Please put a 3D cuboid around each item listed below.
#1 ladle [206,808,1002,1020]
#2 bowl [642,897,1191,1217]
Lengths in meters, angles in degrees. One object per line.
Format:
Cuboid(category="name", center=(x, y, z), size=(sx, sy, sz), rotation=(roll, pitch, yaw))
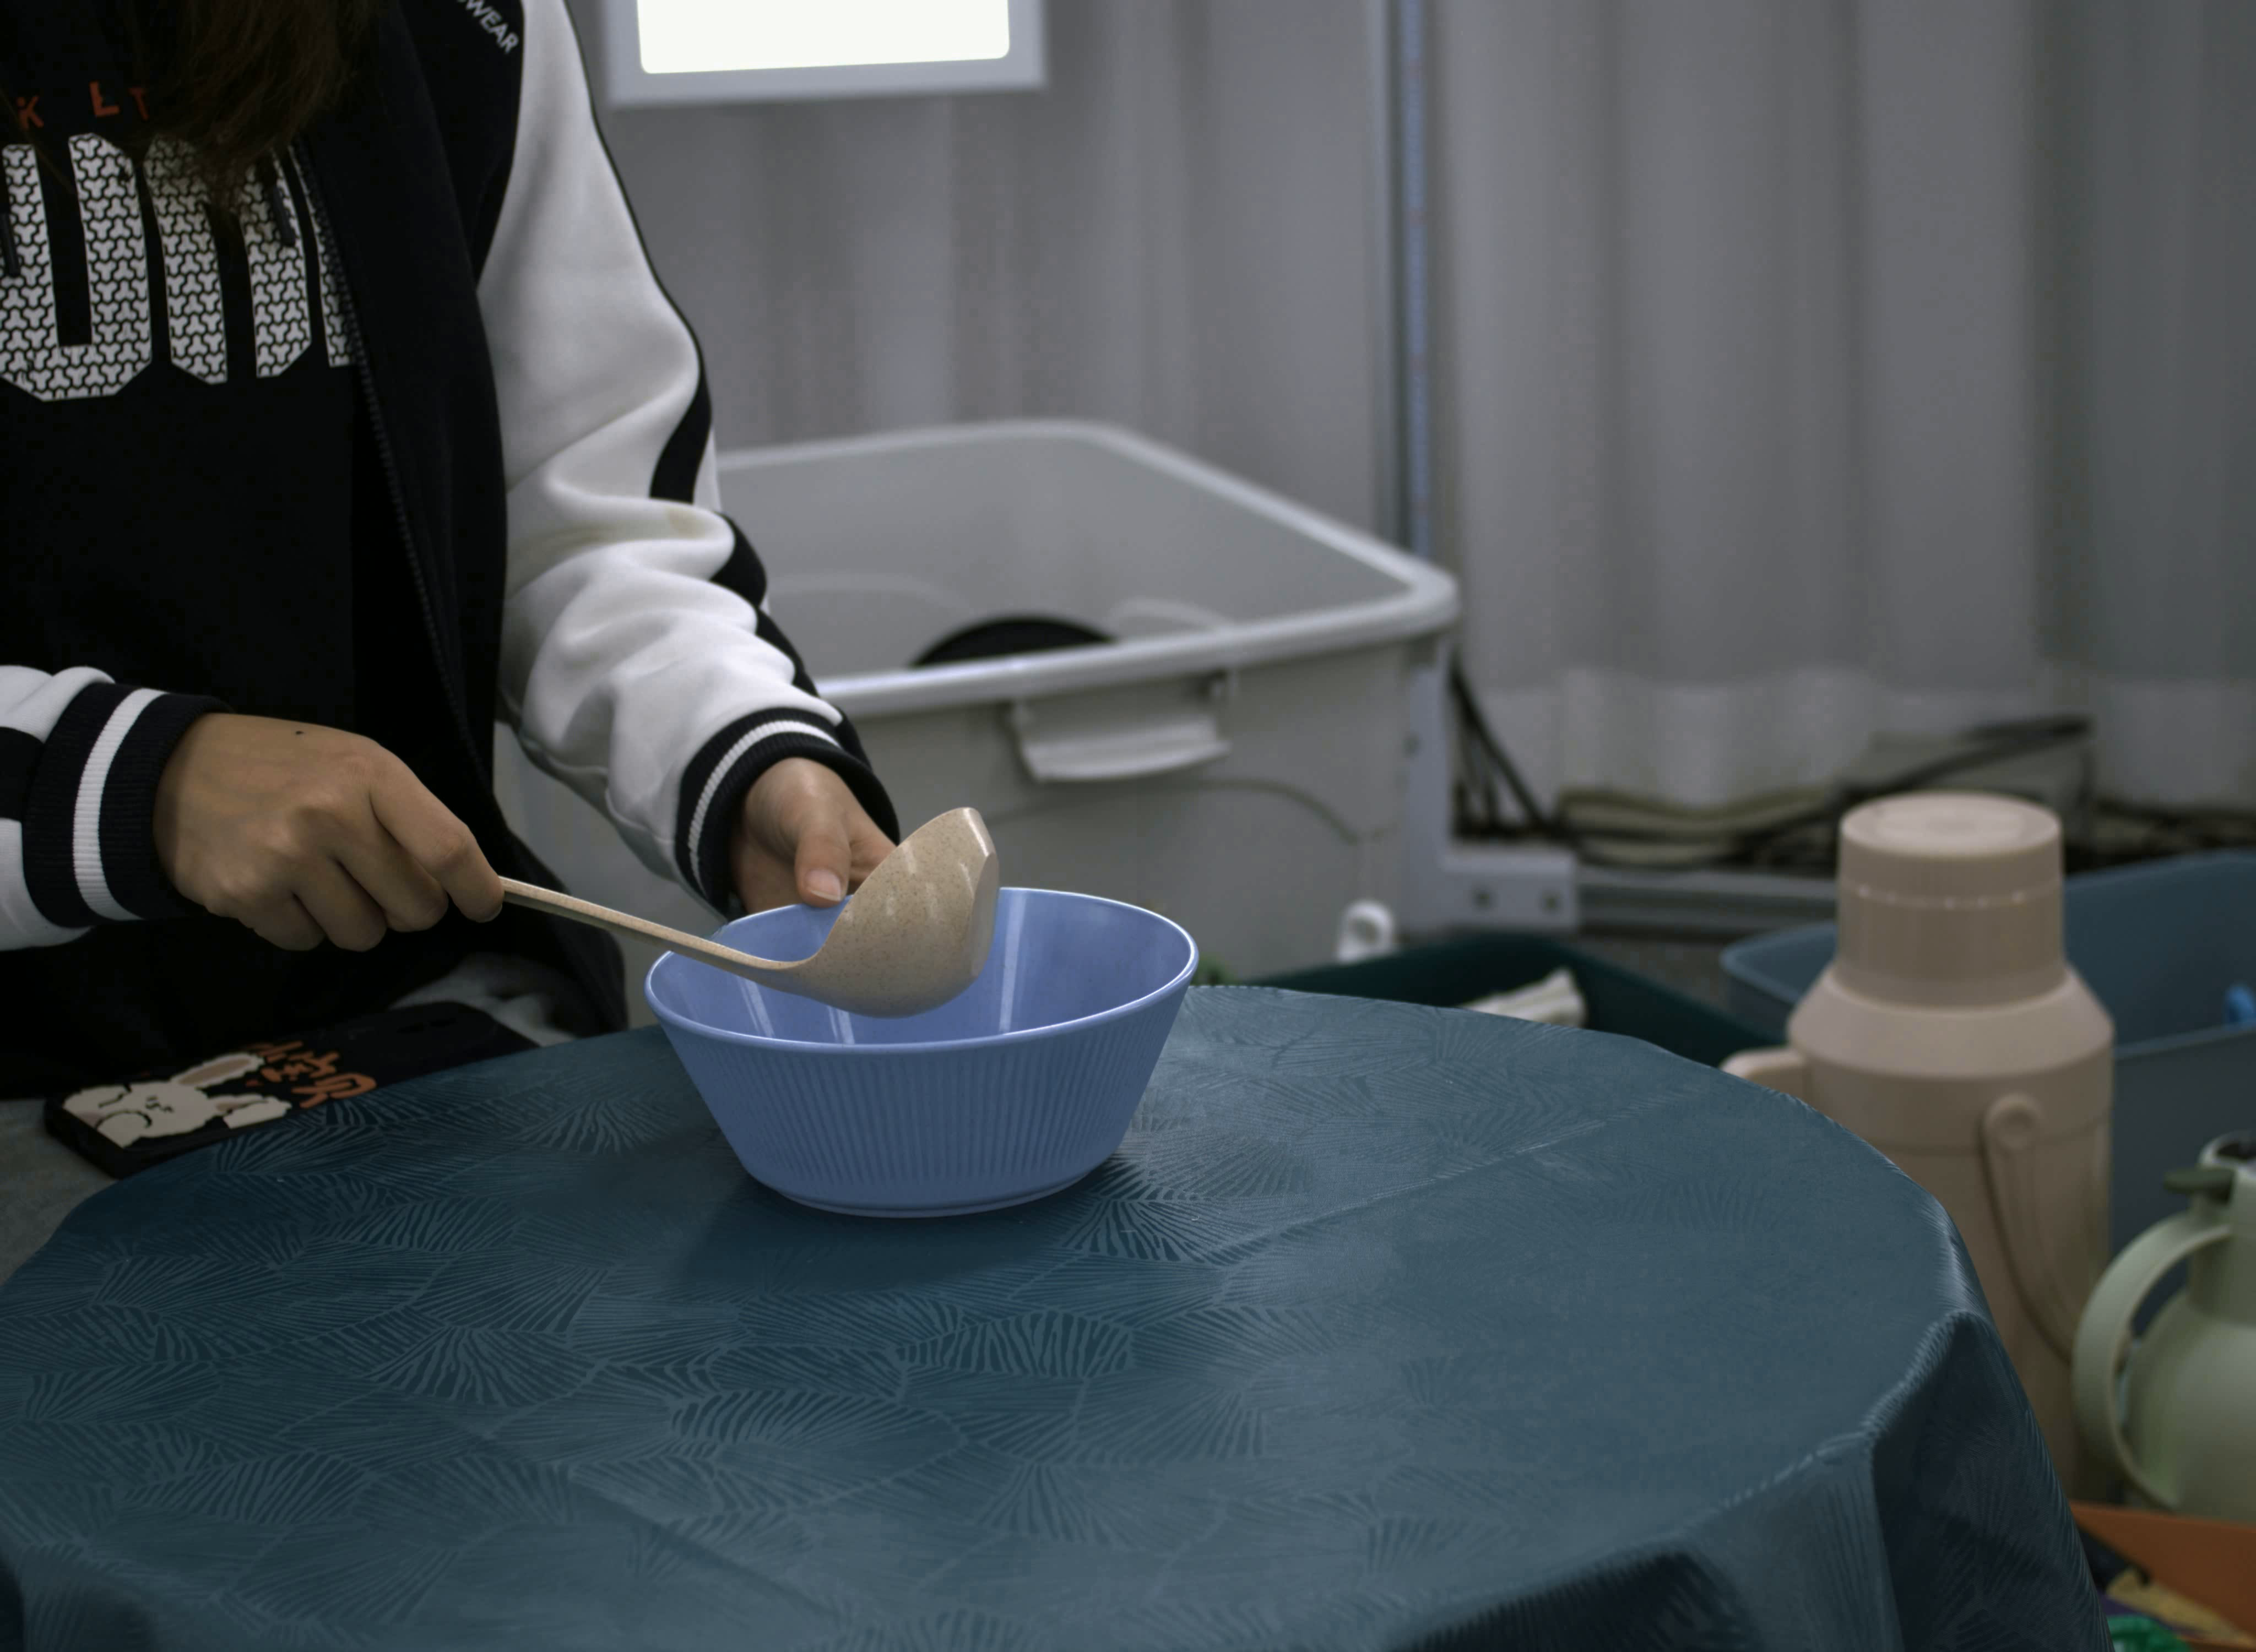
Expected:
Cuboid(category="ladle", center=(-0.164, 0.003, 1.747), size=(0.254, 0.073, 0.071), rotation=(14, -20, 11))
Cuboid(category="bowl", center=(-0.066, 0.075, 1.740), size=(0.175, 0.070, 0.177), rotation=(-2, 14, 0))
